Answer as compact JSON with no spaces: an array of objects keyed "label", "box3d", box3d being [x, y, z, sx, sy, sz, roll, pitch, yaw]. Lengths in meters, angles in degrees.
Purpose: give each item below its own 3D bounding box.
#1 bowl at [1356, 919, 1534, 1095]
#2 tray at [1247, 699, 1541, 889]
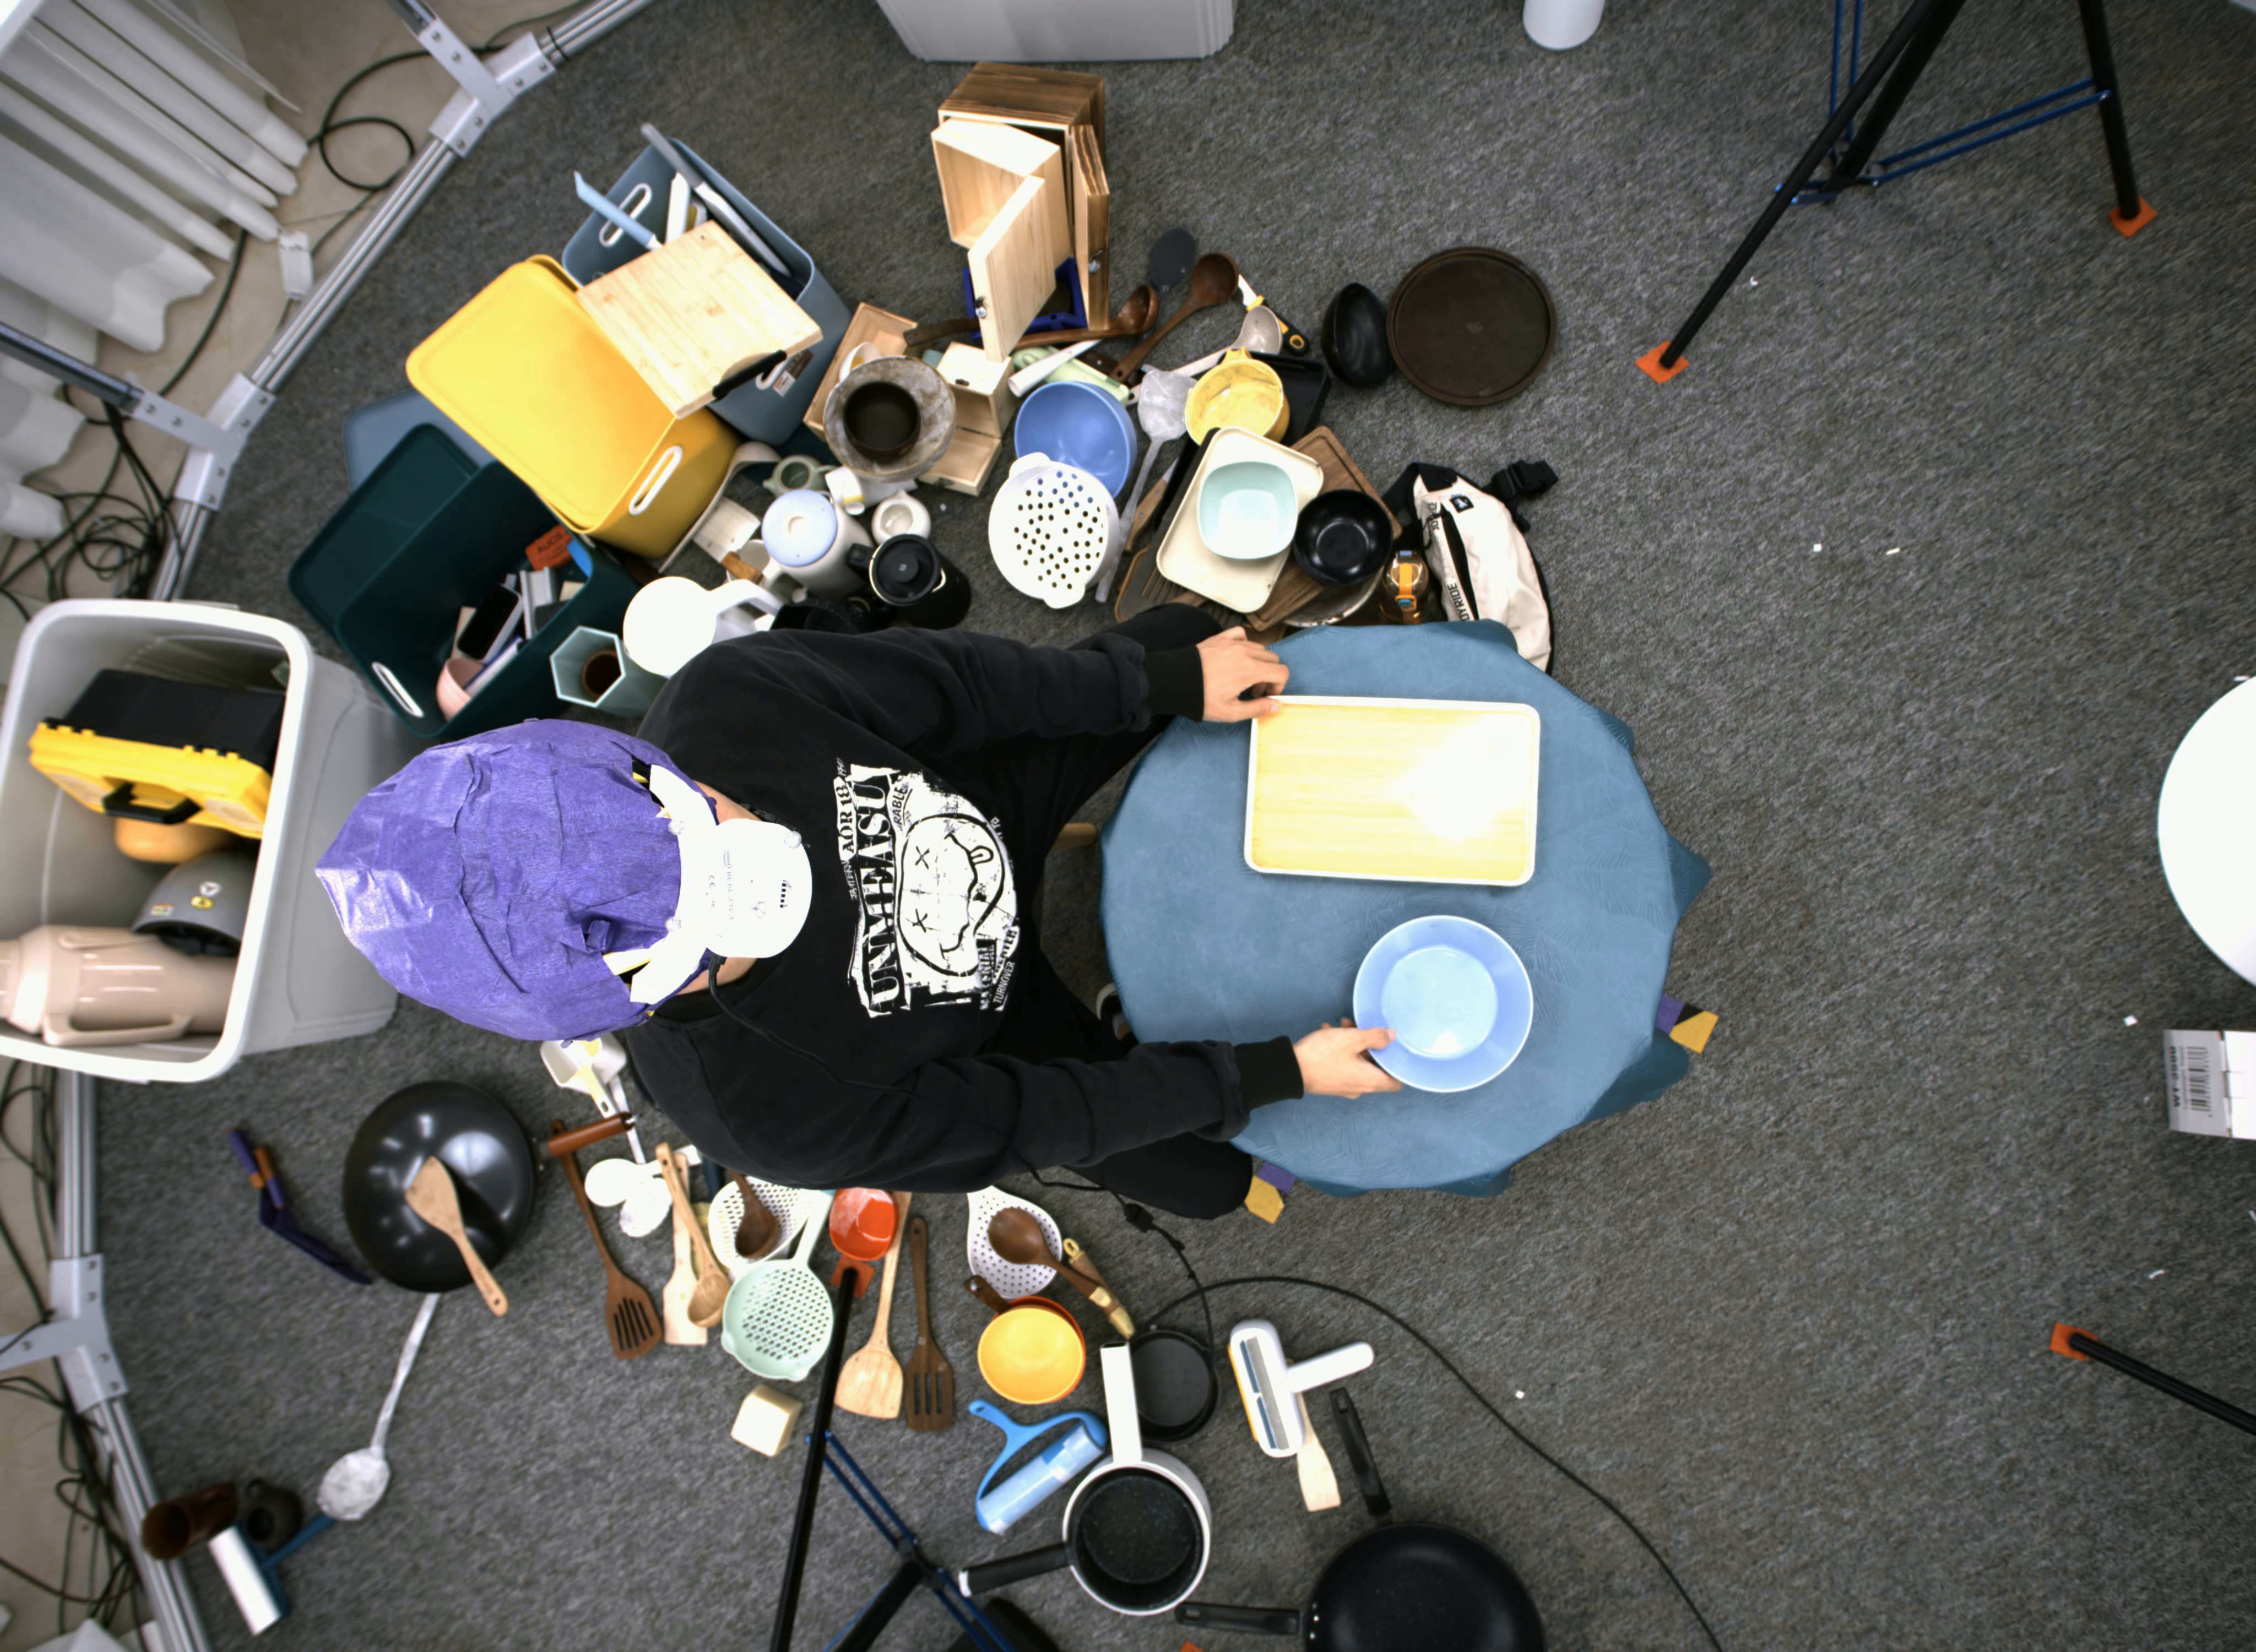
[{"label":"bowl","box3d":[0.321,0.183,1.411,0.177,0.070,0.175,-1,85,9]},{"label":"tray","box3d":[0.280,-0.036,1.457,0.301,0.027,0.190,3,86,10]}]
